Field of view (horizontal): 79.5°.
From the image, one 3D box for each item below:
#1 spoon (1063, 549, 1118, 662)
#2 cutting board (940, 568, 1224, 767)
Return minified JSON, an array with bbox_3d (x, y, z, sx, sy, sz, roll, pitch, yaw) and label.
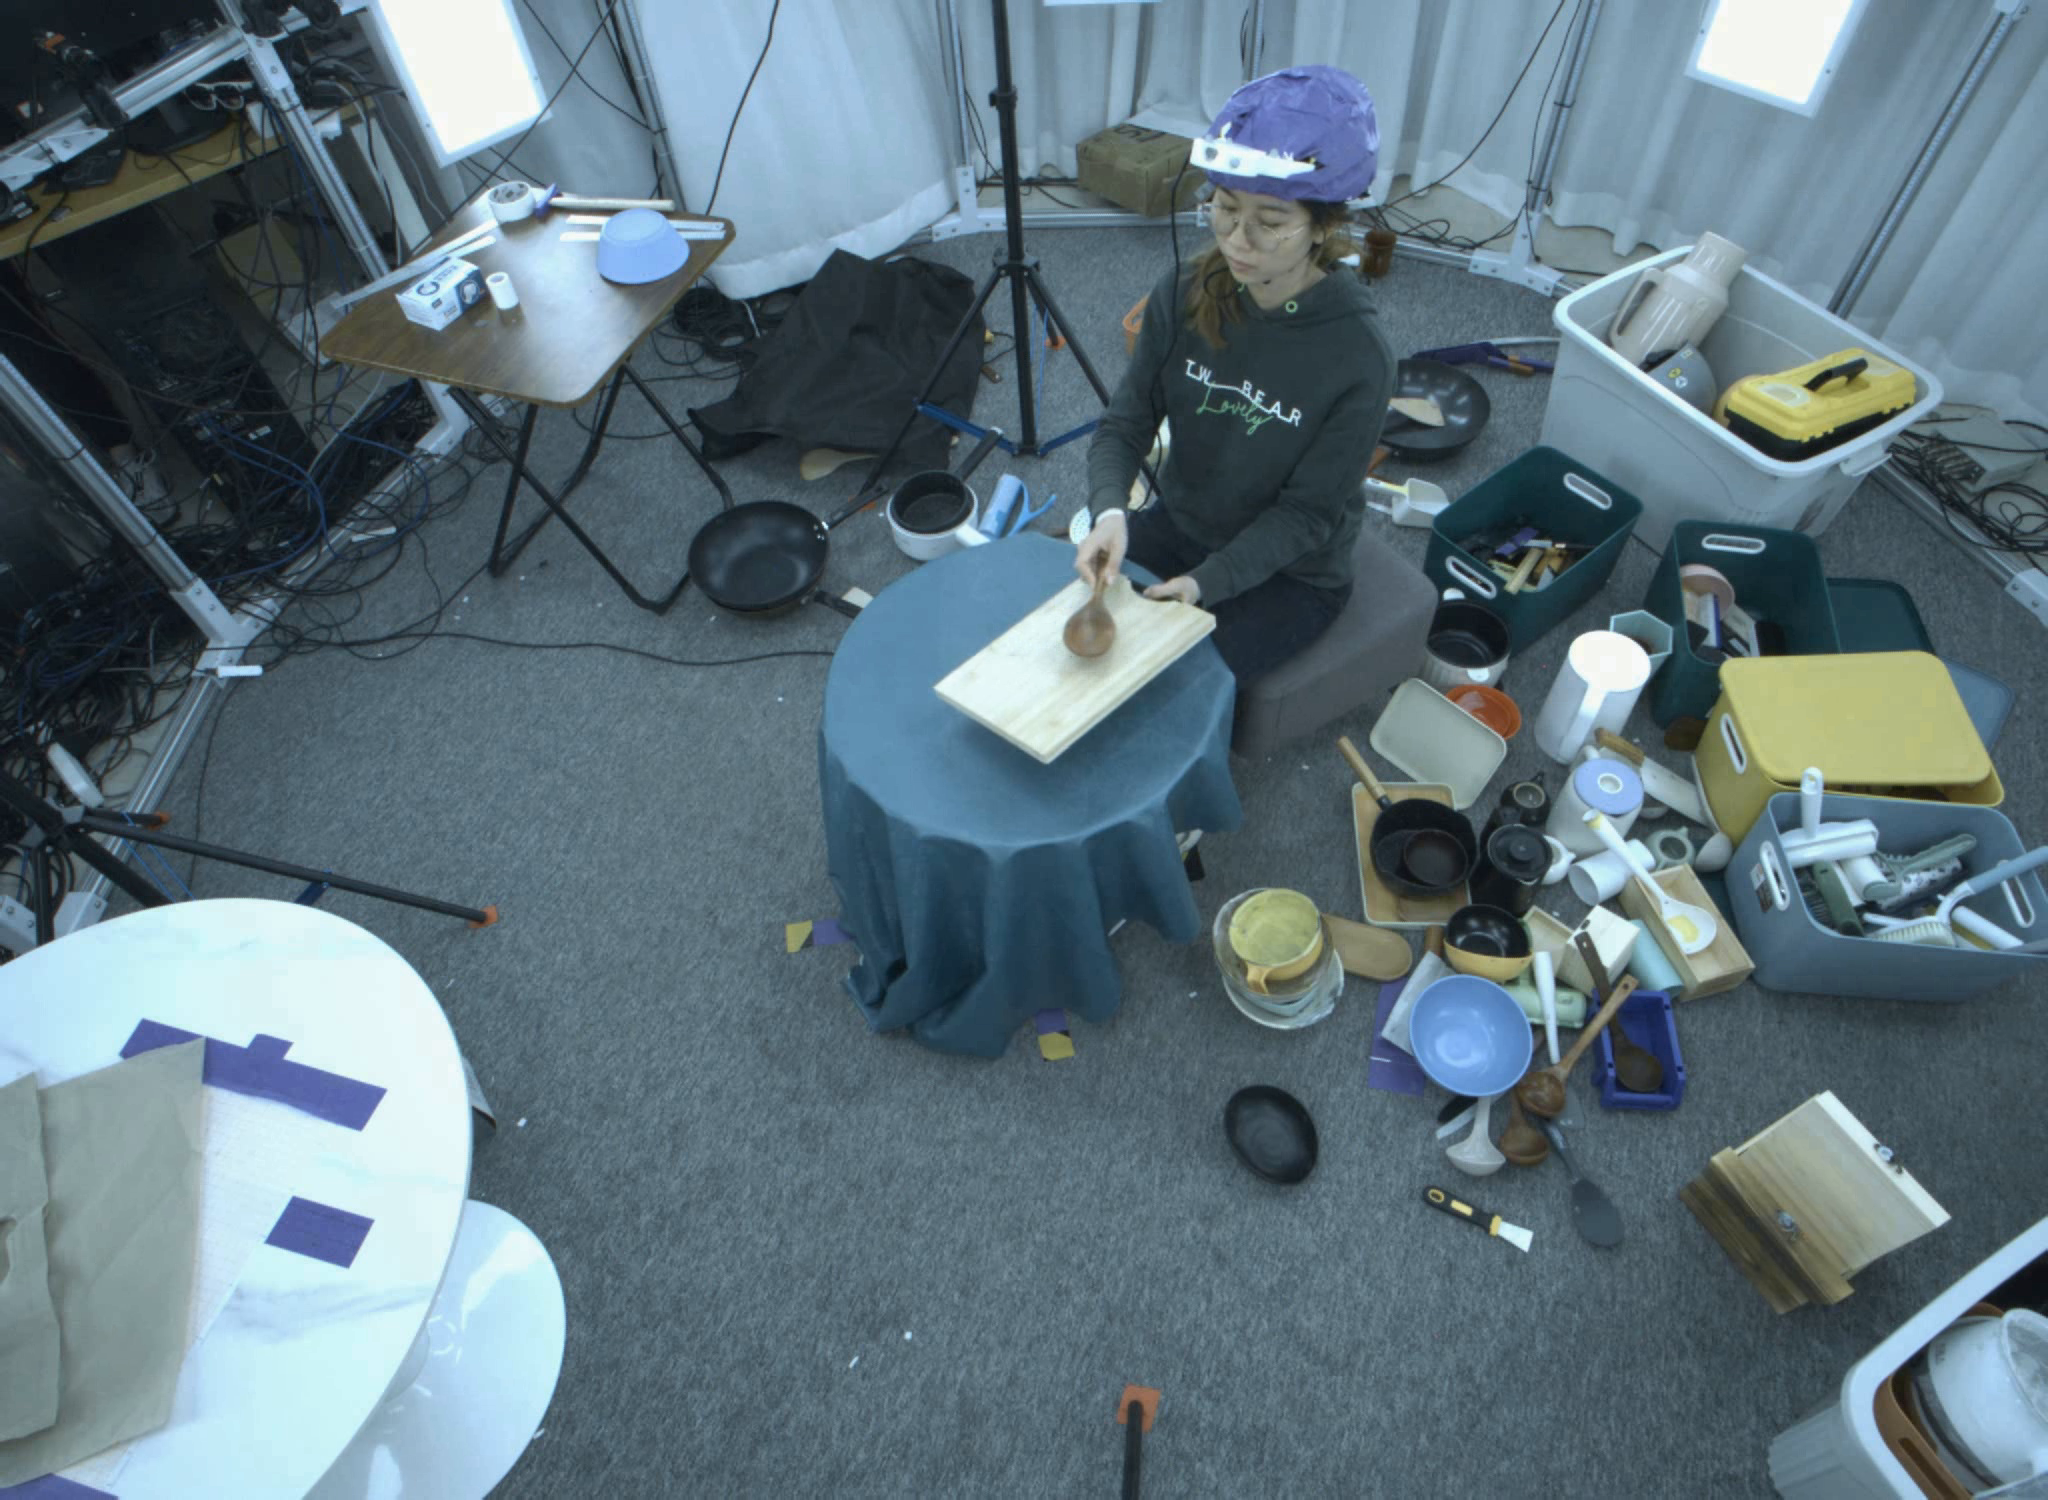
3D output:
[{"bbox_3d":[0.105,-0.206,1.750,0.075,0.017,0.214,8,56,8],"label":"spoon"},{"bbox_3d":[0.080,-0.131,1.761,0.351,0.024,0.245,-40,50,-24],"label":"cutting board"}]
